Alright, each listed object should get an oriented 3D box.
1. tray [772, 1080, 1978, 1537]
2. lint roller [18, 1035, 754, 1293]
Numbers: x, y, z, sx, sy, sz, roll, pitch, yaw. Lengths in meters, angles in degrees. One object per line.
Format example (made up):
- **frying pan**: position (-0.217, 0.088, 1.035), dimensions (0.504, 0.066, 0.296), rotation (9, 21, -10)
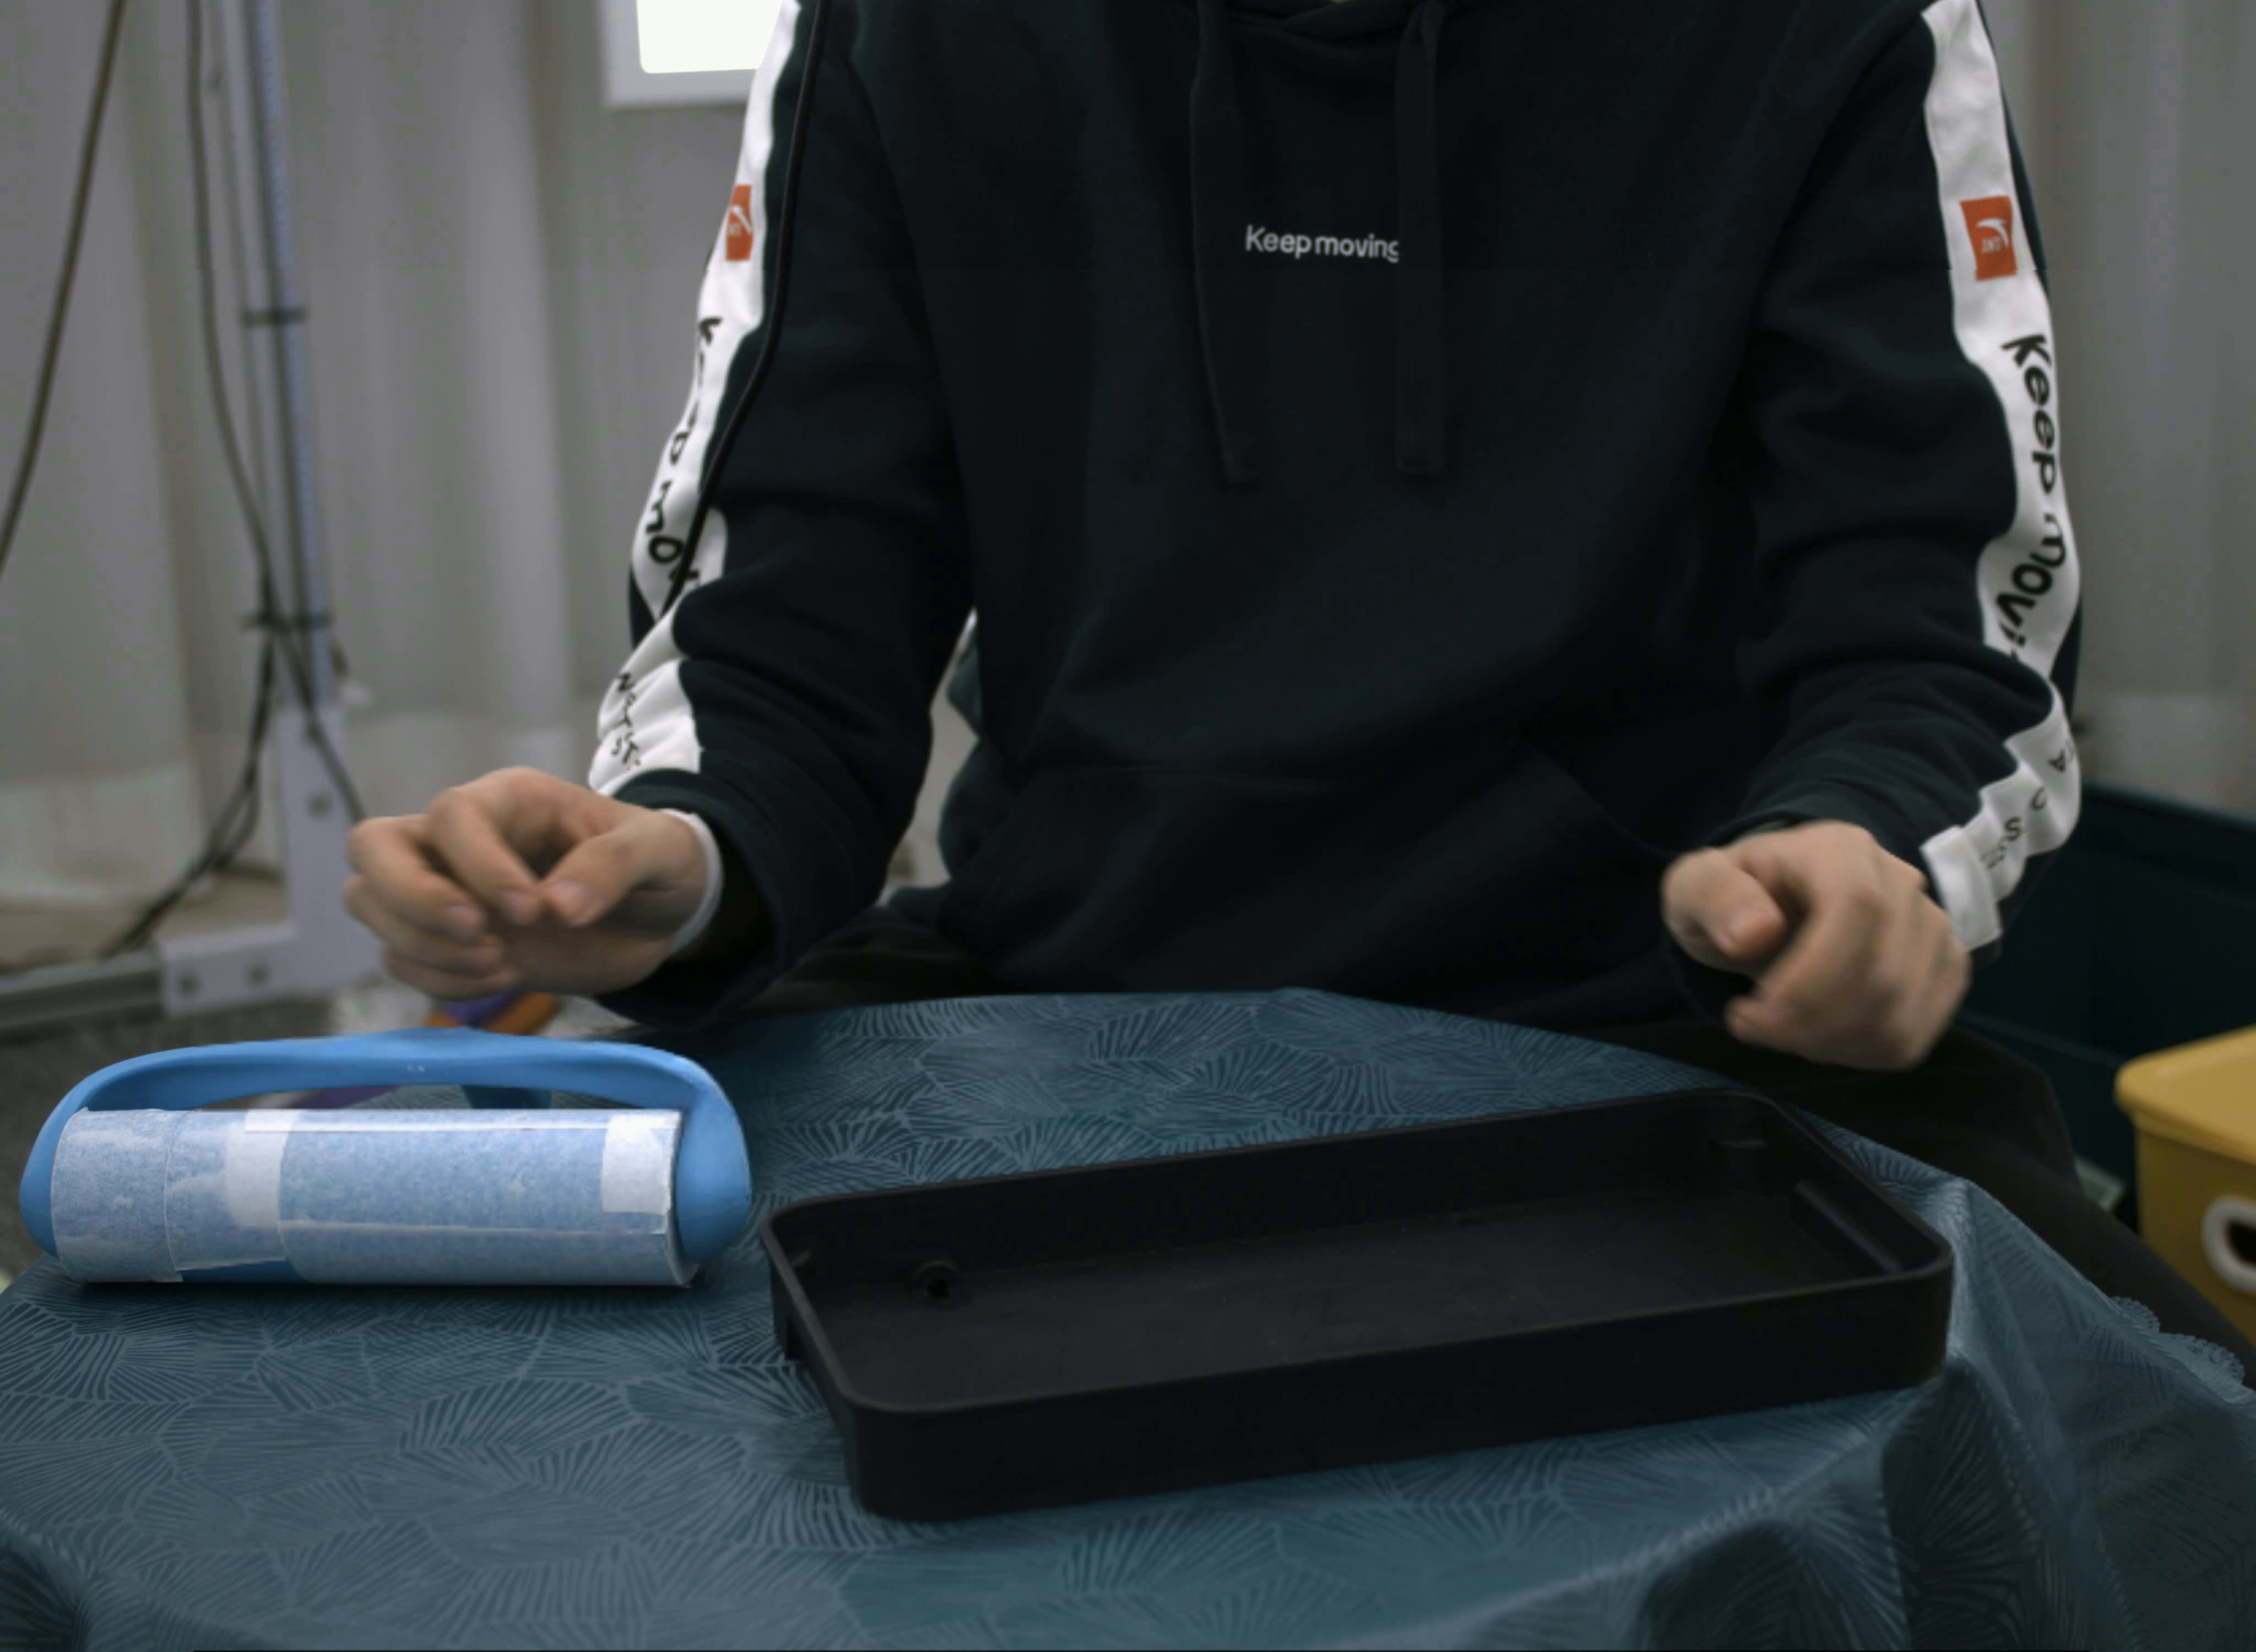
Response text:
- **tray**: position (0.067, 0.134, 1.564), dimensions (0.316, 0.037, 0.186), rotation (-8, 15, -13)
- **lint roller**: position (-0.219, 0.096, 1.718), dimensions (0.228, 0.067, 0.181), rotation (-3, 16, 7)
